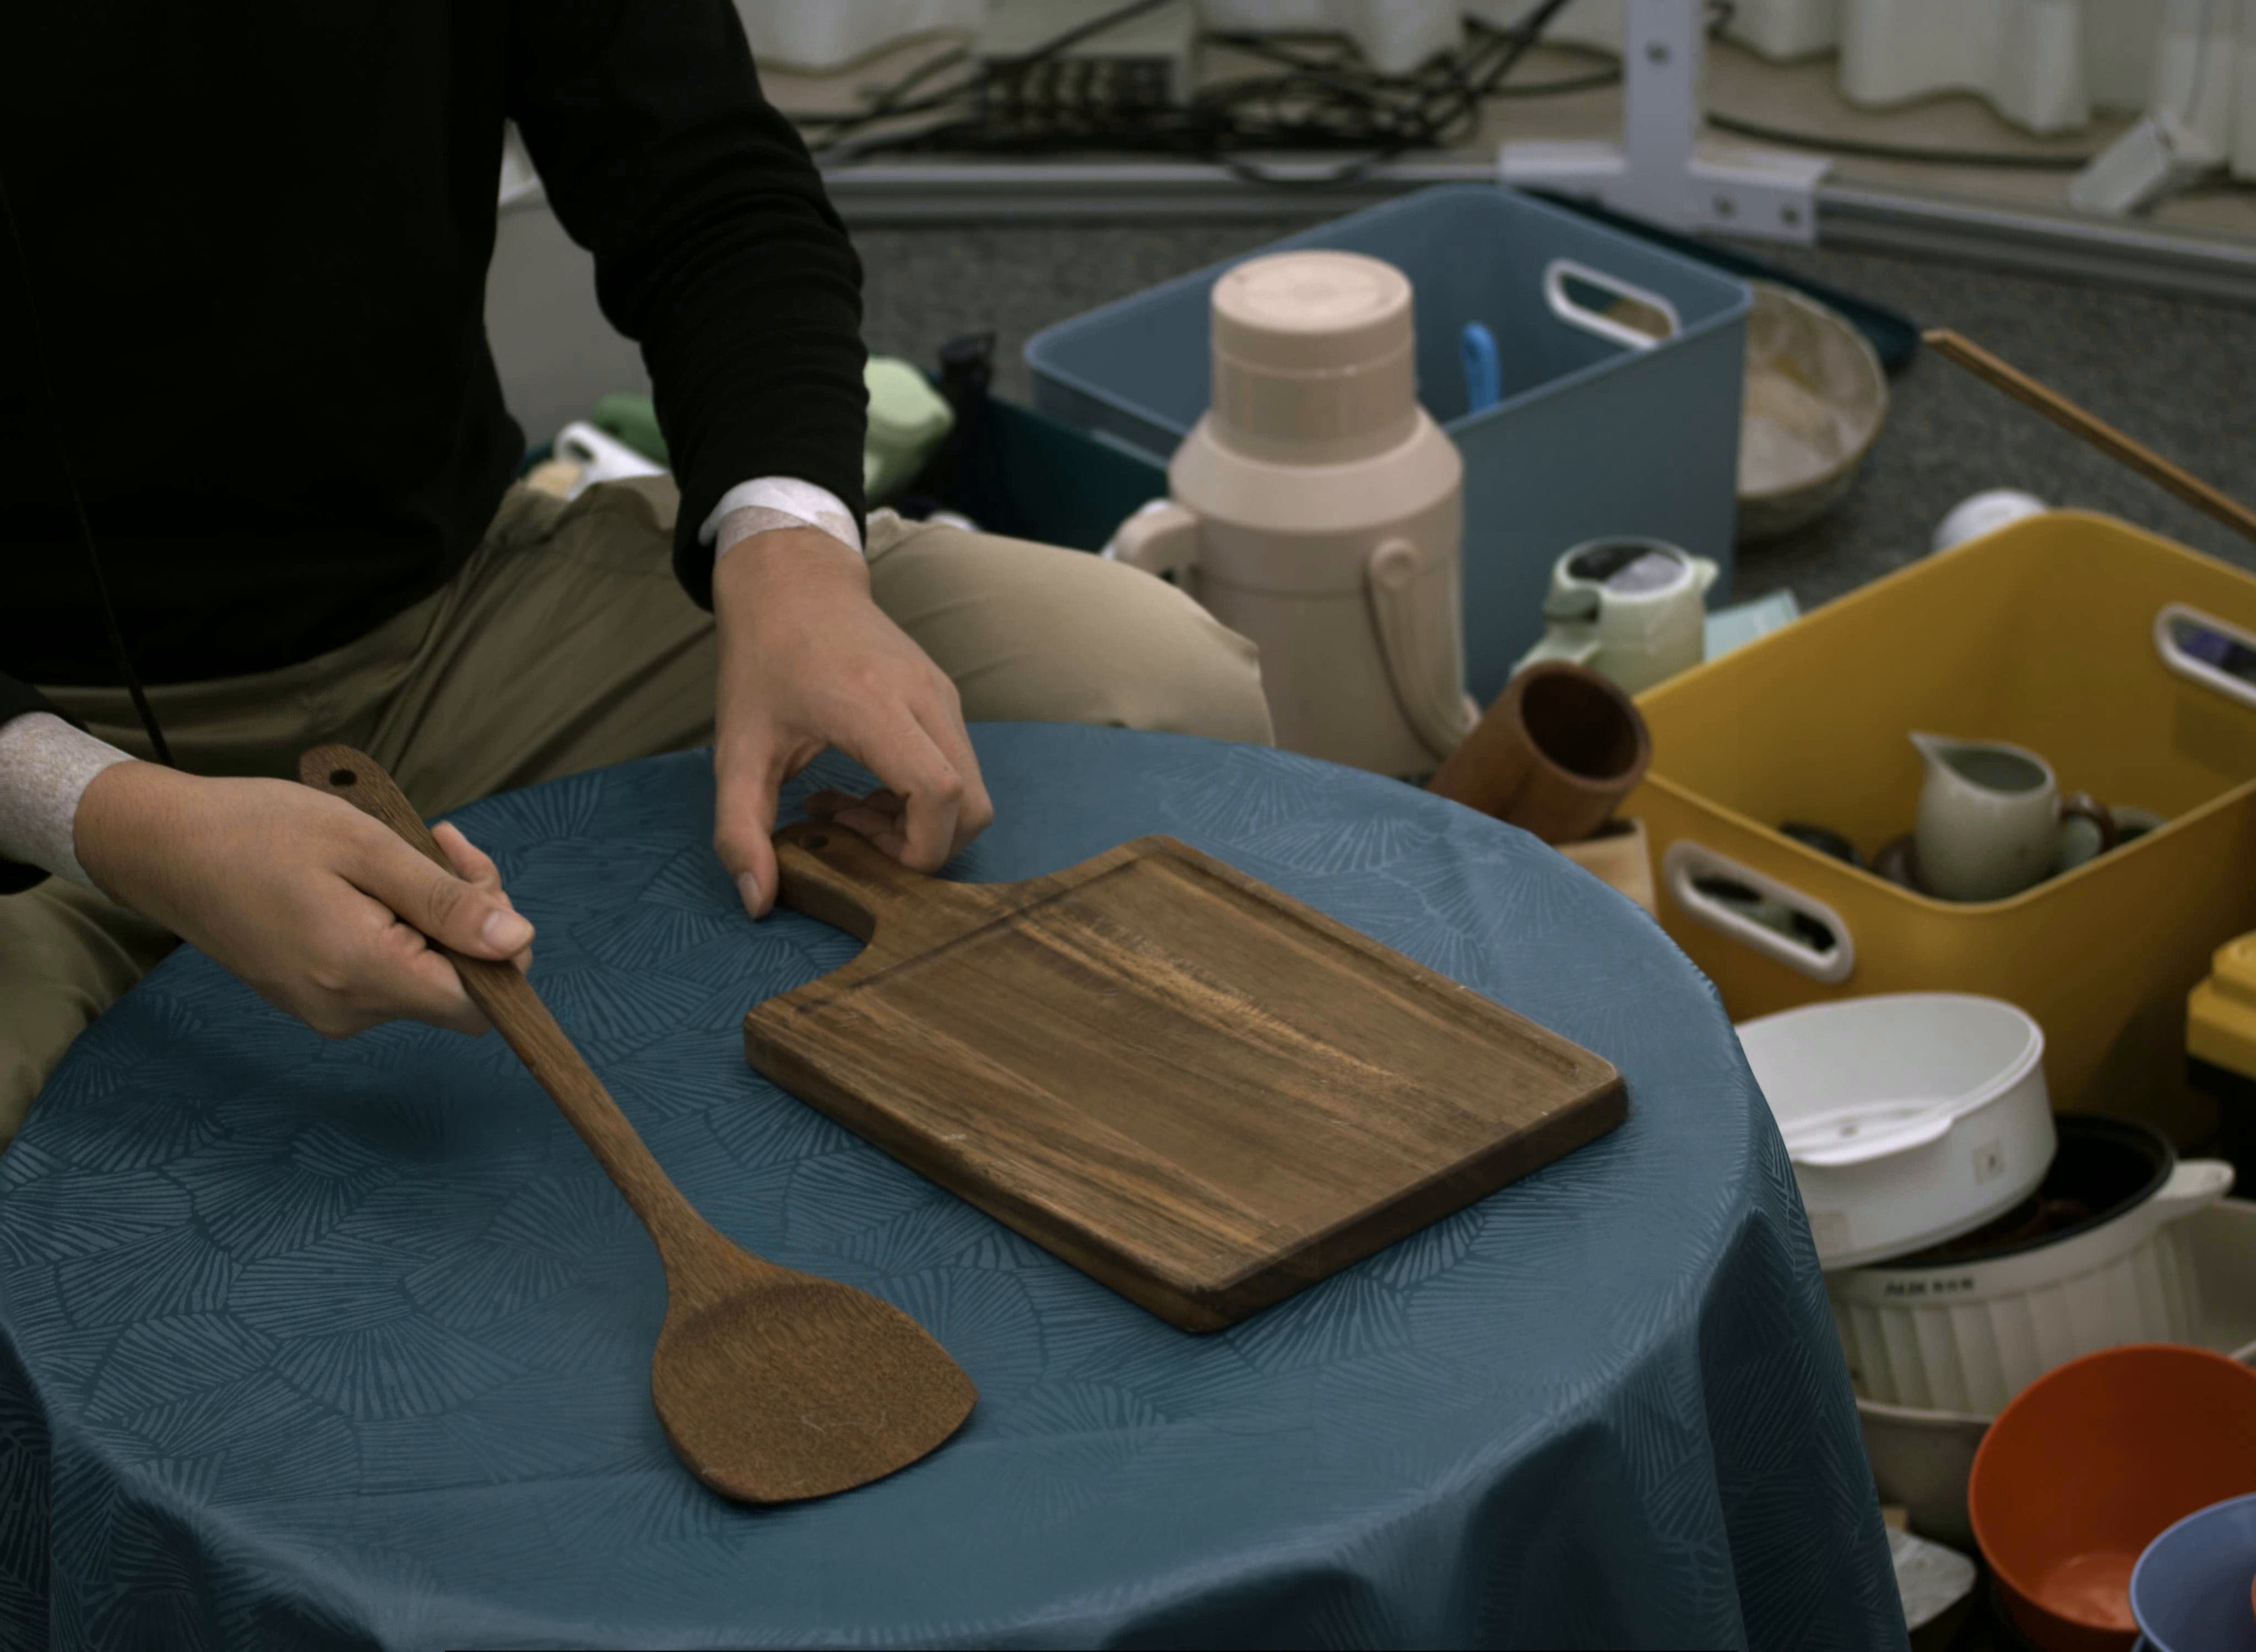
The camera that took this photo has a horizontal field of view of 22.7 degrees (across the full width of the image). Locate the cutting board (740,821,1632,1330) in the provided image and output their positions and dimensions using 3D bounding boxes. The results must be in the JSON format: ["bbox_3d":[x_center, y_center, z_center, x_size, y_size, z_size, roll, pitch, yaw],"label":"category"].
[{"bbox_3d":[-0.014,0.065,1.948,0.203,0.023,0.352,-23,33,-34],"label":"cutting board"}]

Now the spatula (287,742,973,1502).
[{"bbox_3d":[-0.182,0.086,1.835,0.097,0.015,0.389,-19,48,-27],"label":"spatula"}]
